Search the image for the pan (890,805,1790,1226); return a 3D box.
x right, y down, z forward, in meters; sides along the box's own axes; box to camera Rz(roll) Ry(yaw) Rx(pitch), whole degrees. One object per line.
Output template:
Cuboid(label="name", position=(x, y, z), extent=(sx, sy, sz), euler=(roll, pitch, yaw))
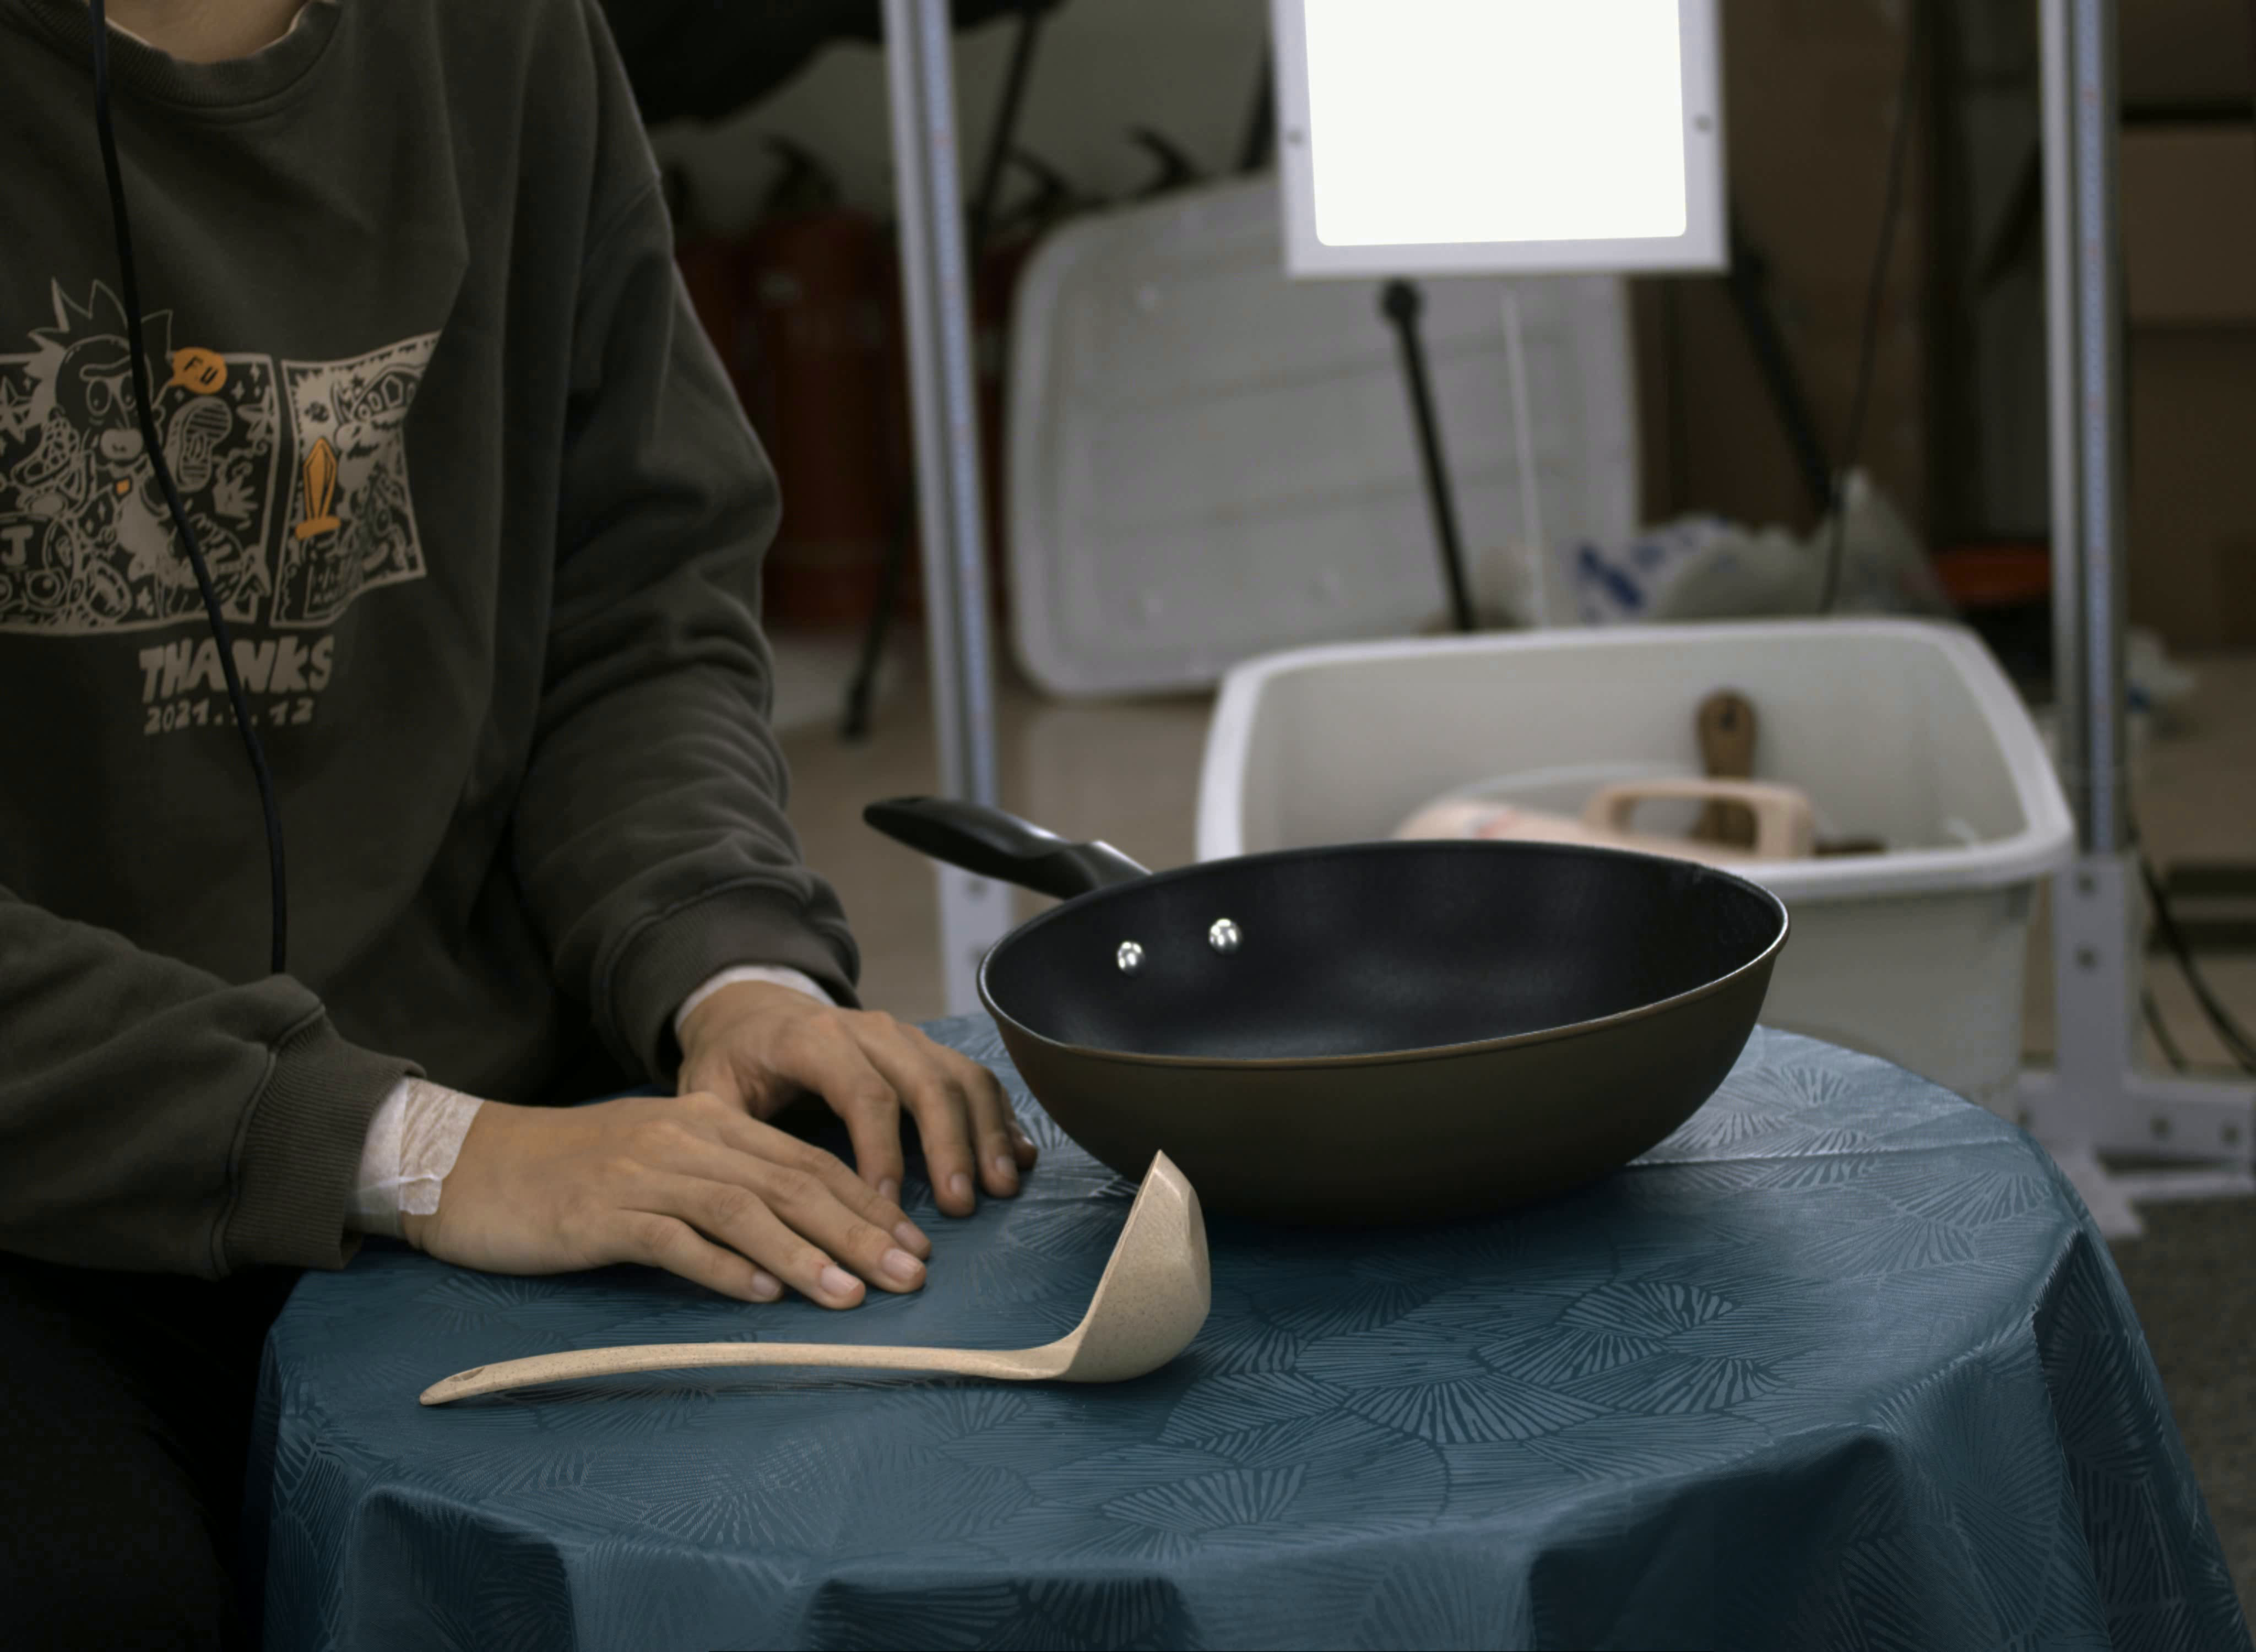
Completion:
Cuboid(label="pan", position=(0.038, 0.063, 1.968), extent=(0.281, 0.087, 0.472), euler=(-14, 15, -31))

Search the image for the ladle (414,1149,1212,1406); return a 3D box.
Cuboid(label="ladle", position=(-0.101, 0.141, 1.721), extent=(0.255, 0.073, 0.071), euler=(-2, 16, 7))
